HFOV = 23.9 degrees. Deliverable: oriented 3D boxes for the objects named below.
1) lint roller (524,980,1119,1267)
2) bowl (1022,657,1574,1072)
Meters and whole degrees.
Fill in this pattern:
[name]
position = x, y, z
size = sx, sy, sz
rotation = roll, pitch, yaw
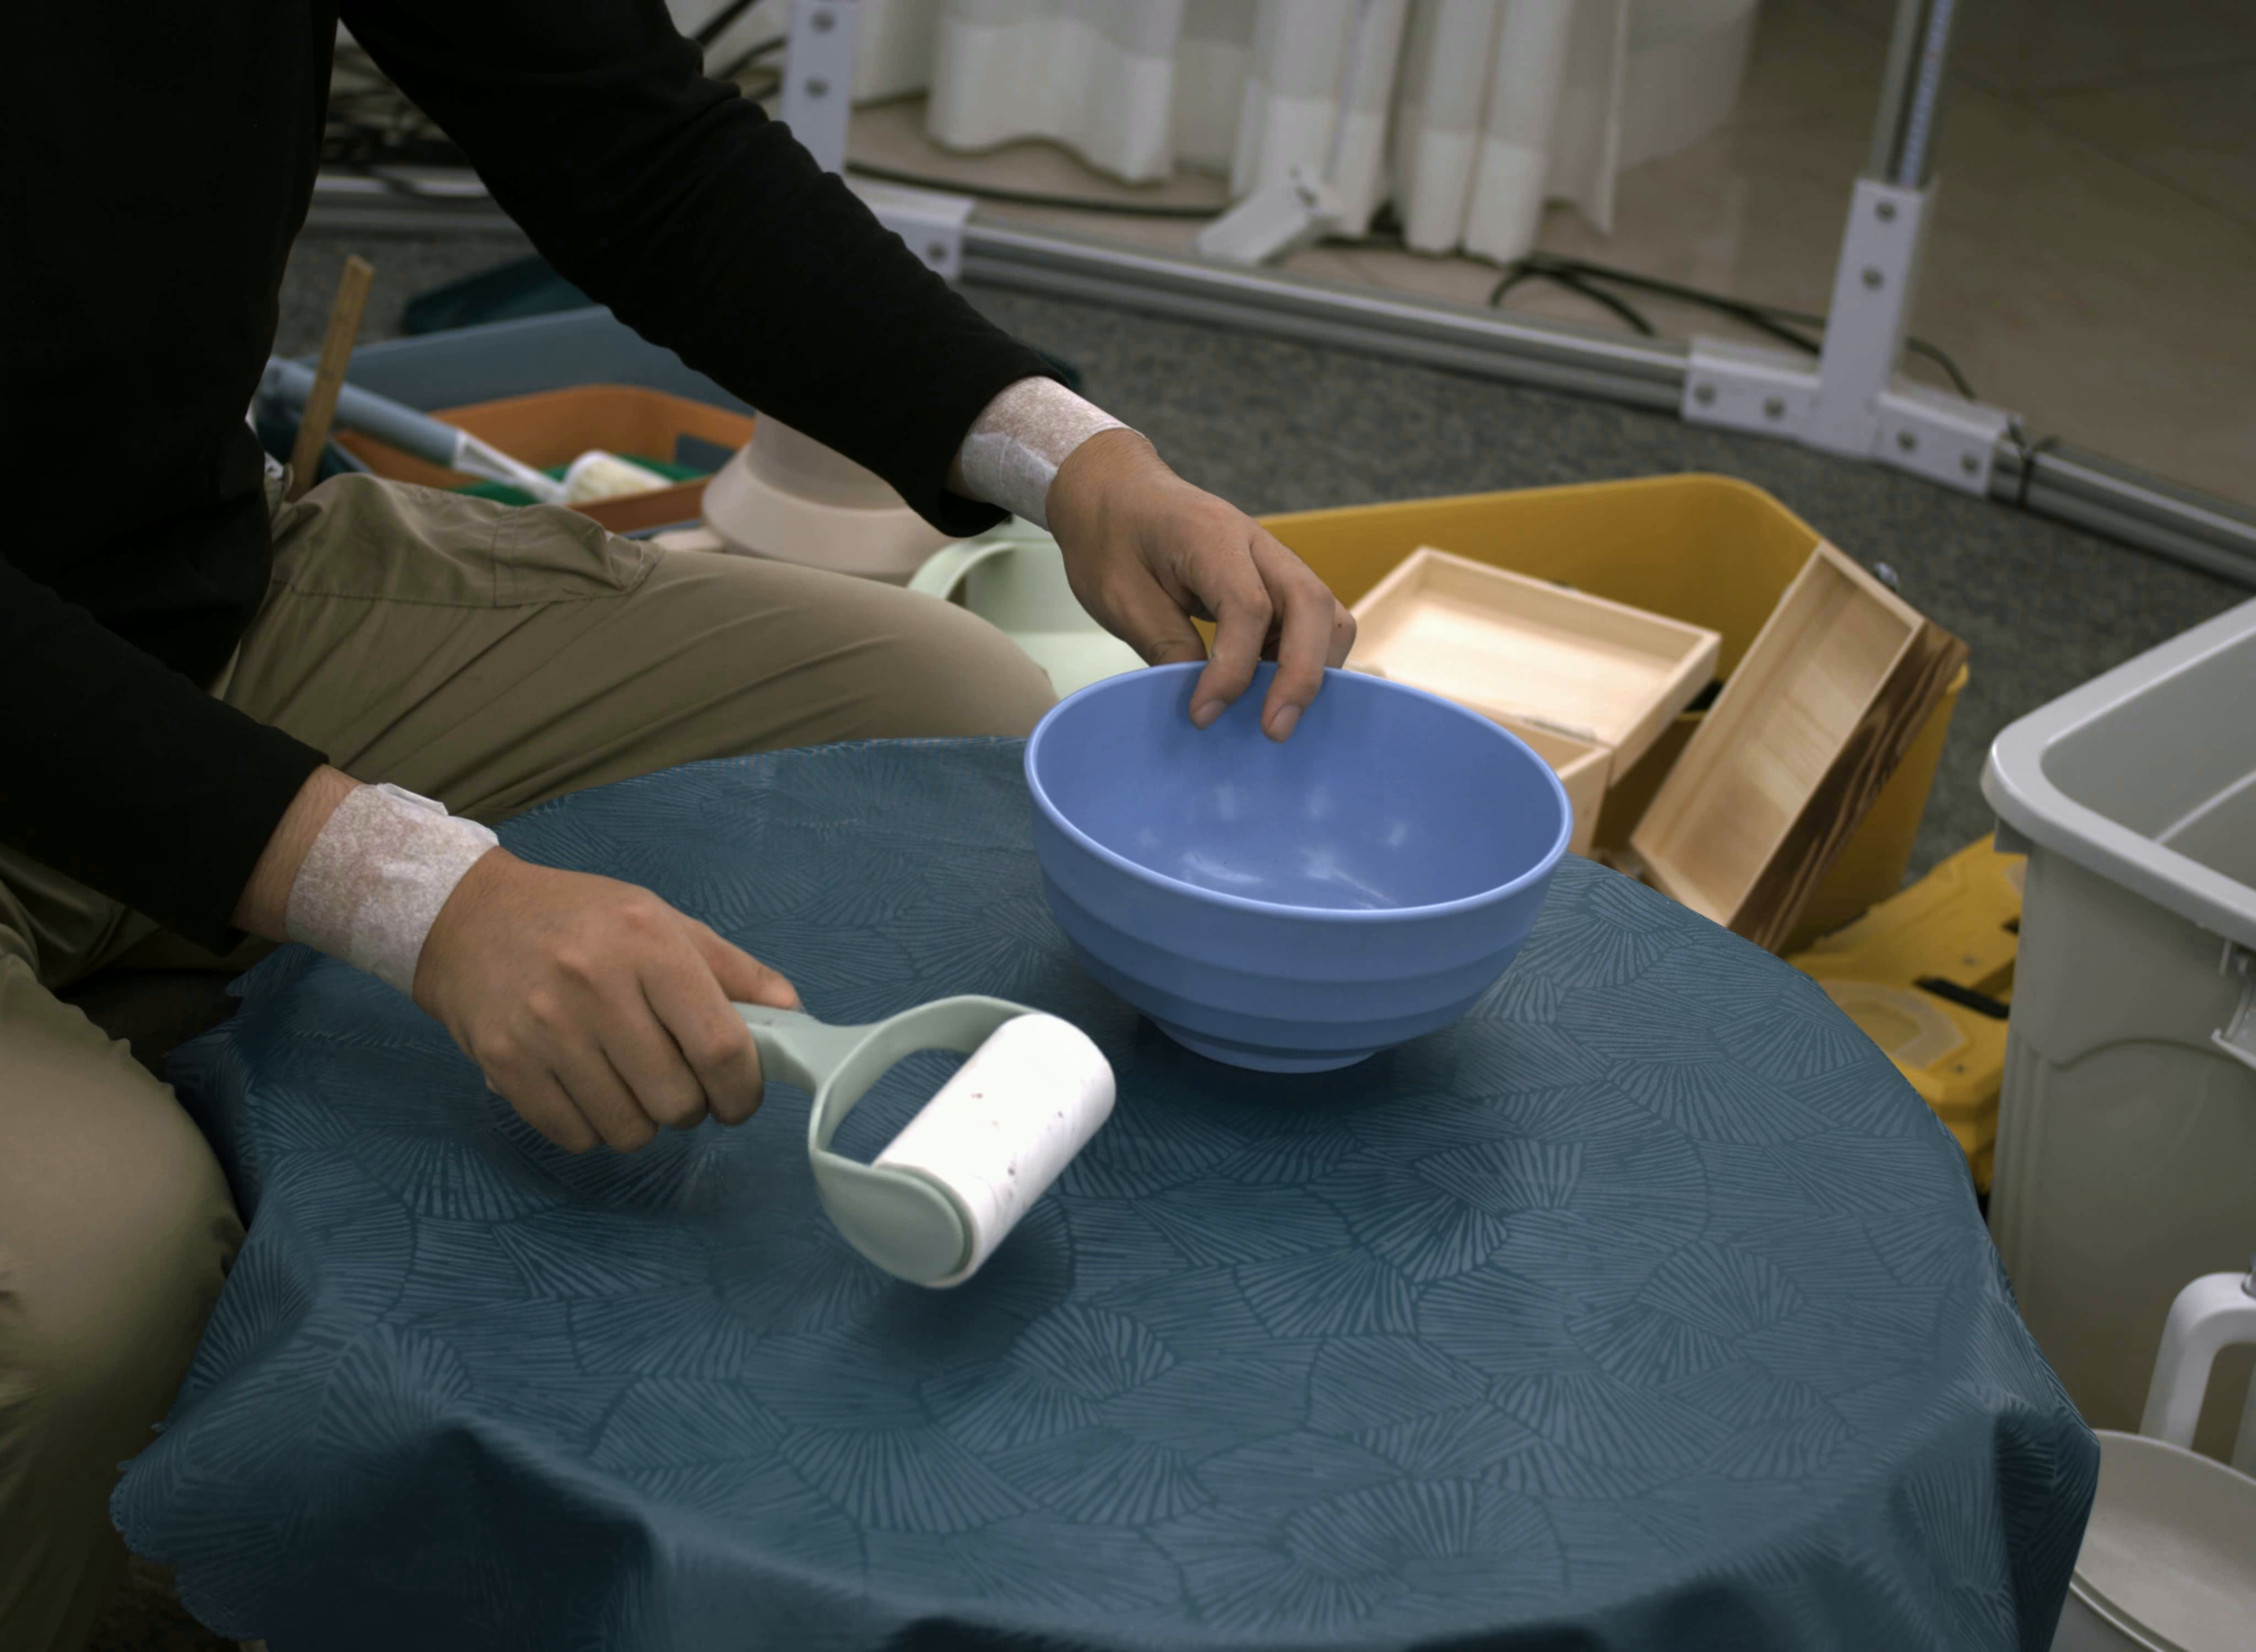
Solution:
[lint roller]
position = -0.110, 0.080, 1.752
size = 0.198, 0.048, 0.117
rotation = 15, 33, 21
[bowl]
position = 0.056, 0.024, 1.903
size = 0.196, 0.095, 0.198
rotation = 4, 28, -3
